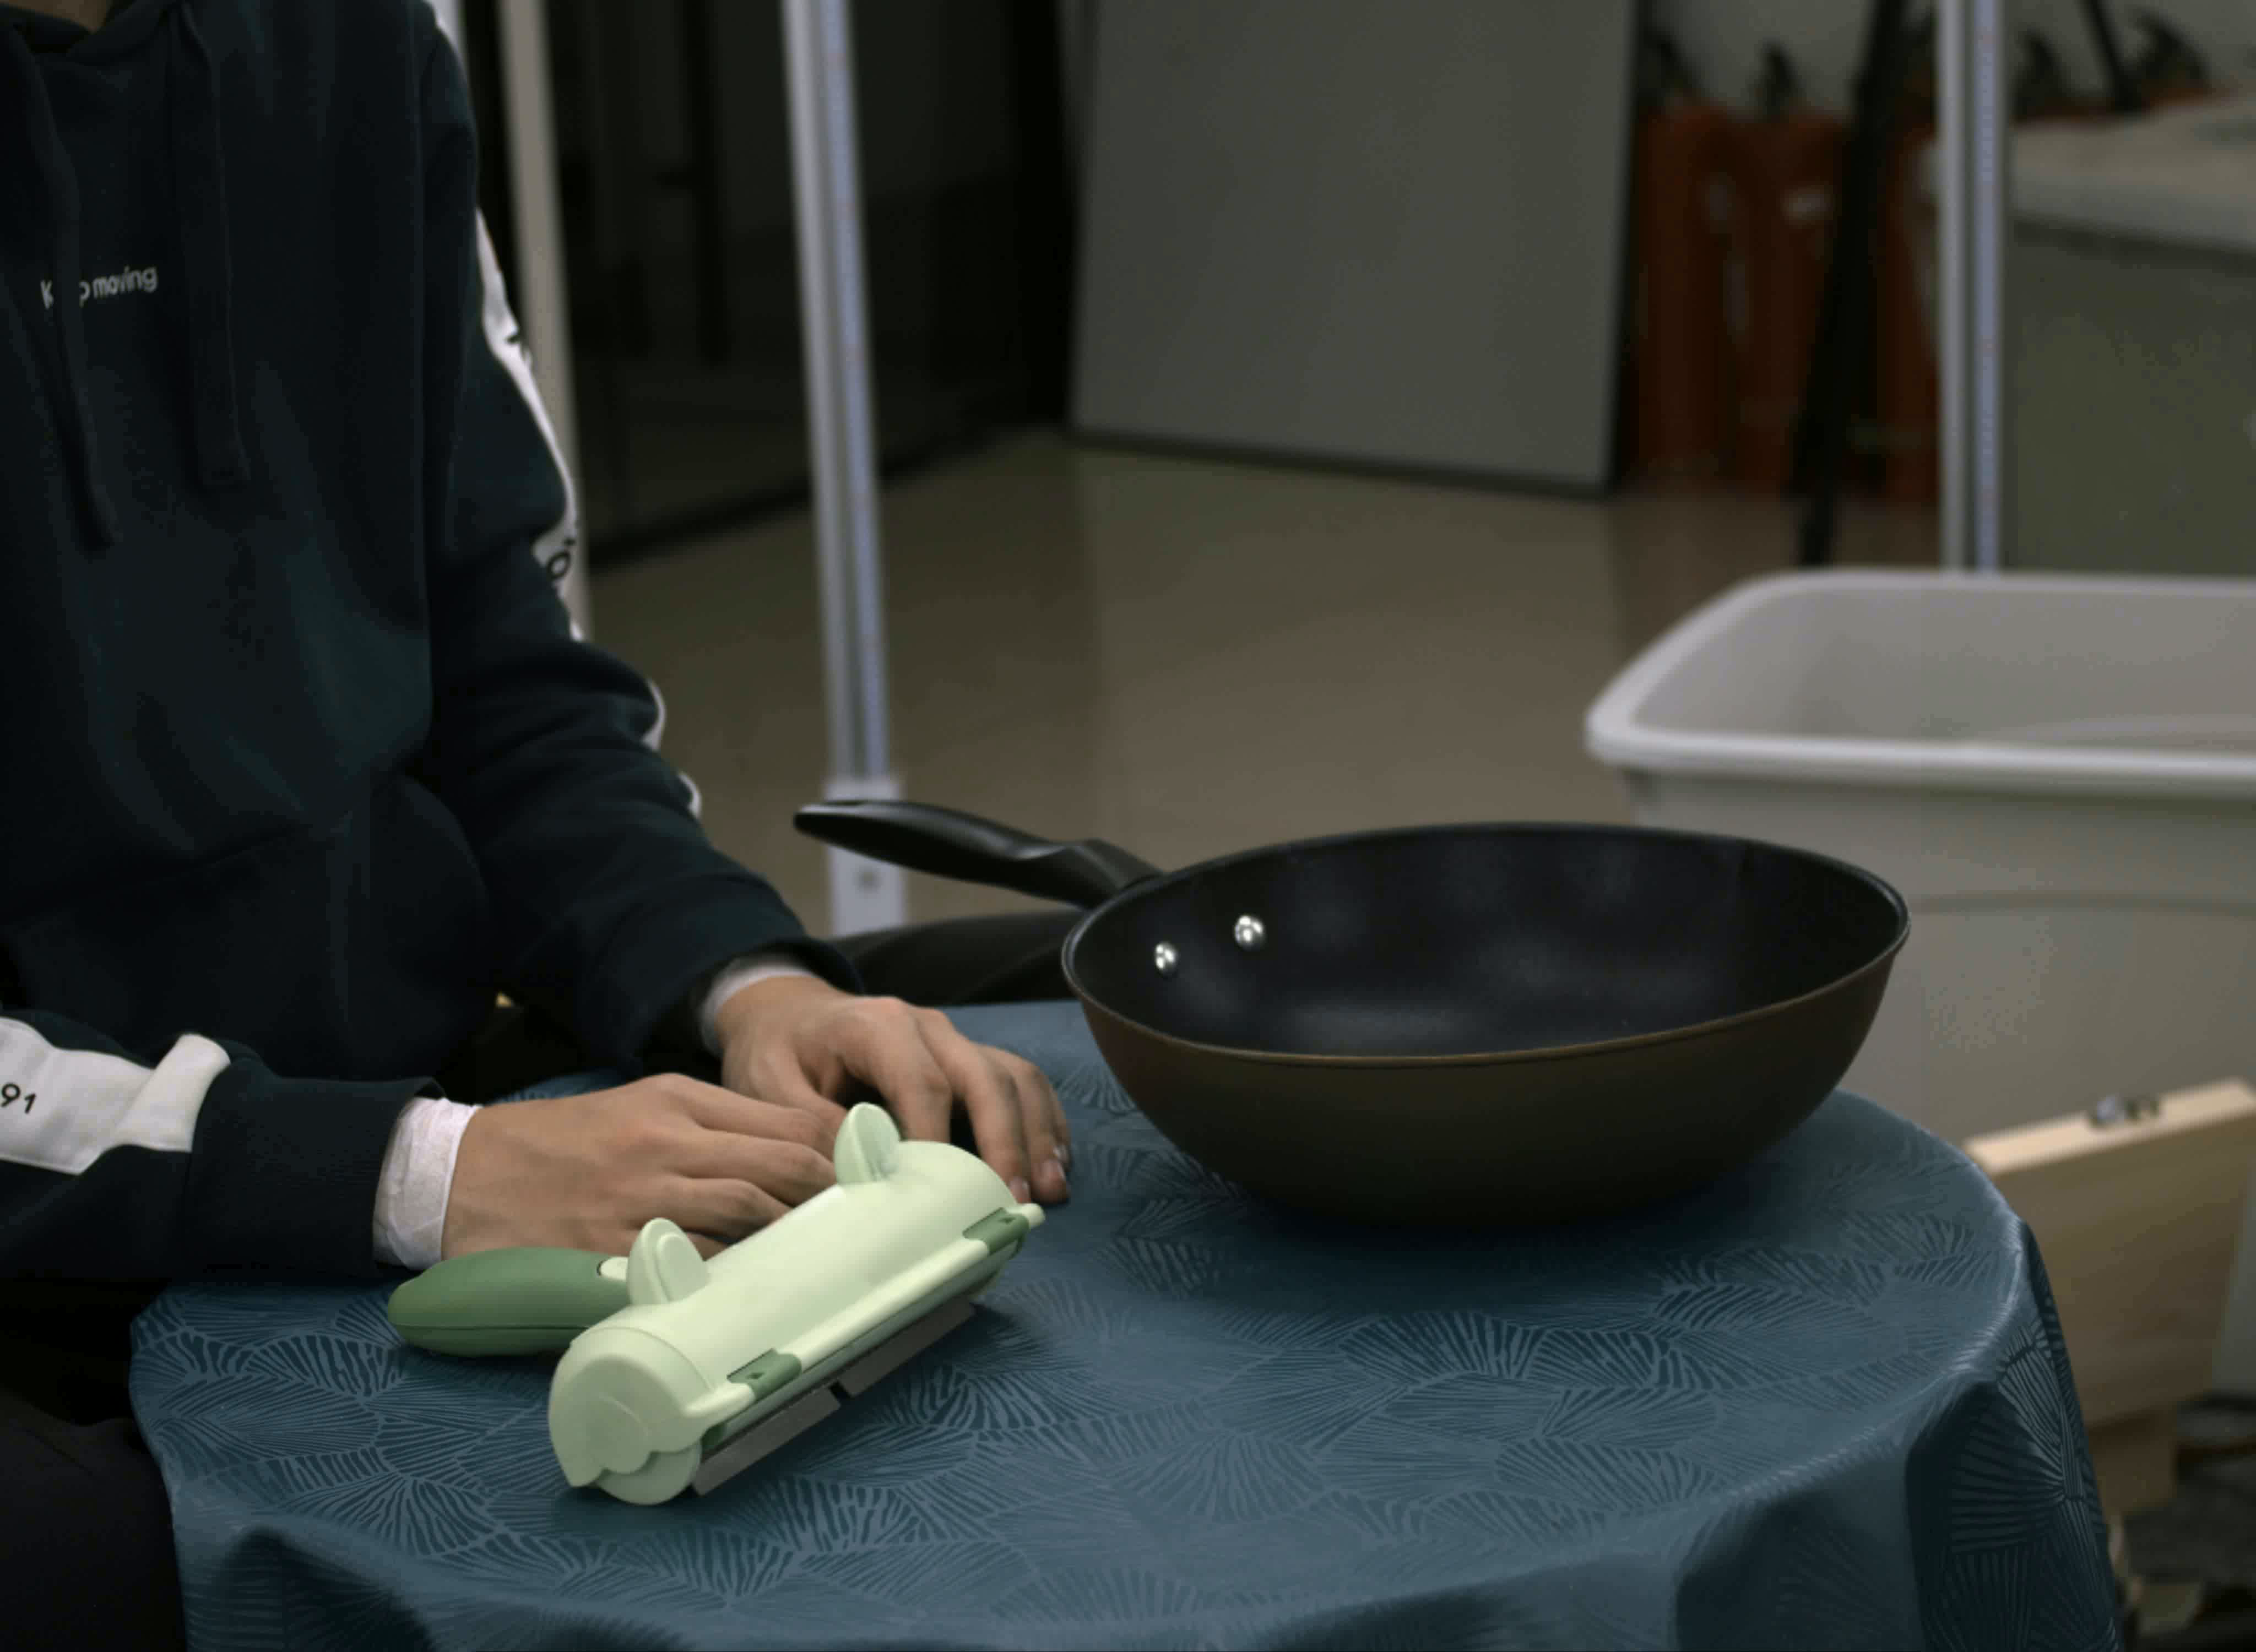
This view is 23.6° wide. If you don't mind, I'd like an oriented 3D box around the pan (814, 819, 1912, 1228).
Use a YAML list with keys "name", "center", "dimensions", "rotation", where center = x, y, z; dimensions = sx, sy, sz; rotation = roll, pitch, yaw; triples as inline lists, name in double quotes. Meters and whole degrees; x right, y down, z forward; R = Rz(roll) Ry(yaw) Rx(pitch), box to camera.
- name: "pan"
  center: [0.053, 0.061, 1.827]
  dimensions: [0.467, 0.088, 0.282]
  rotation: [8, 17, 44]

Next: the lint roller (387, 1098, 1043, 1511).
- name: "lint roller"
  center: [-0.147, 0.130, 1.620]
  dimensions: [0.184, 0.083, 0.195]
  rotation: [9, 19, 28]
